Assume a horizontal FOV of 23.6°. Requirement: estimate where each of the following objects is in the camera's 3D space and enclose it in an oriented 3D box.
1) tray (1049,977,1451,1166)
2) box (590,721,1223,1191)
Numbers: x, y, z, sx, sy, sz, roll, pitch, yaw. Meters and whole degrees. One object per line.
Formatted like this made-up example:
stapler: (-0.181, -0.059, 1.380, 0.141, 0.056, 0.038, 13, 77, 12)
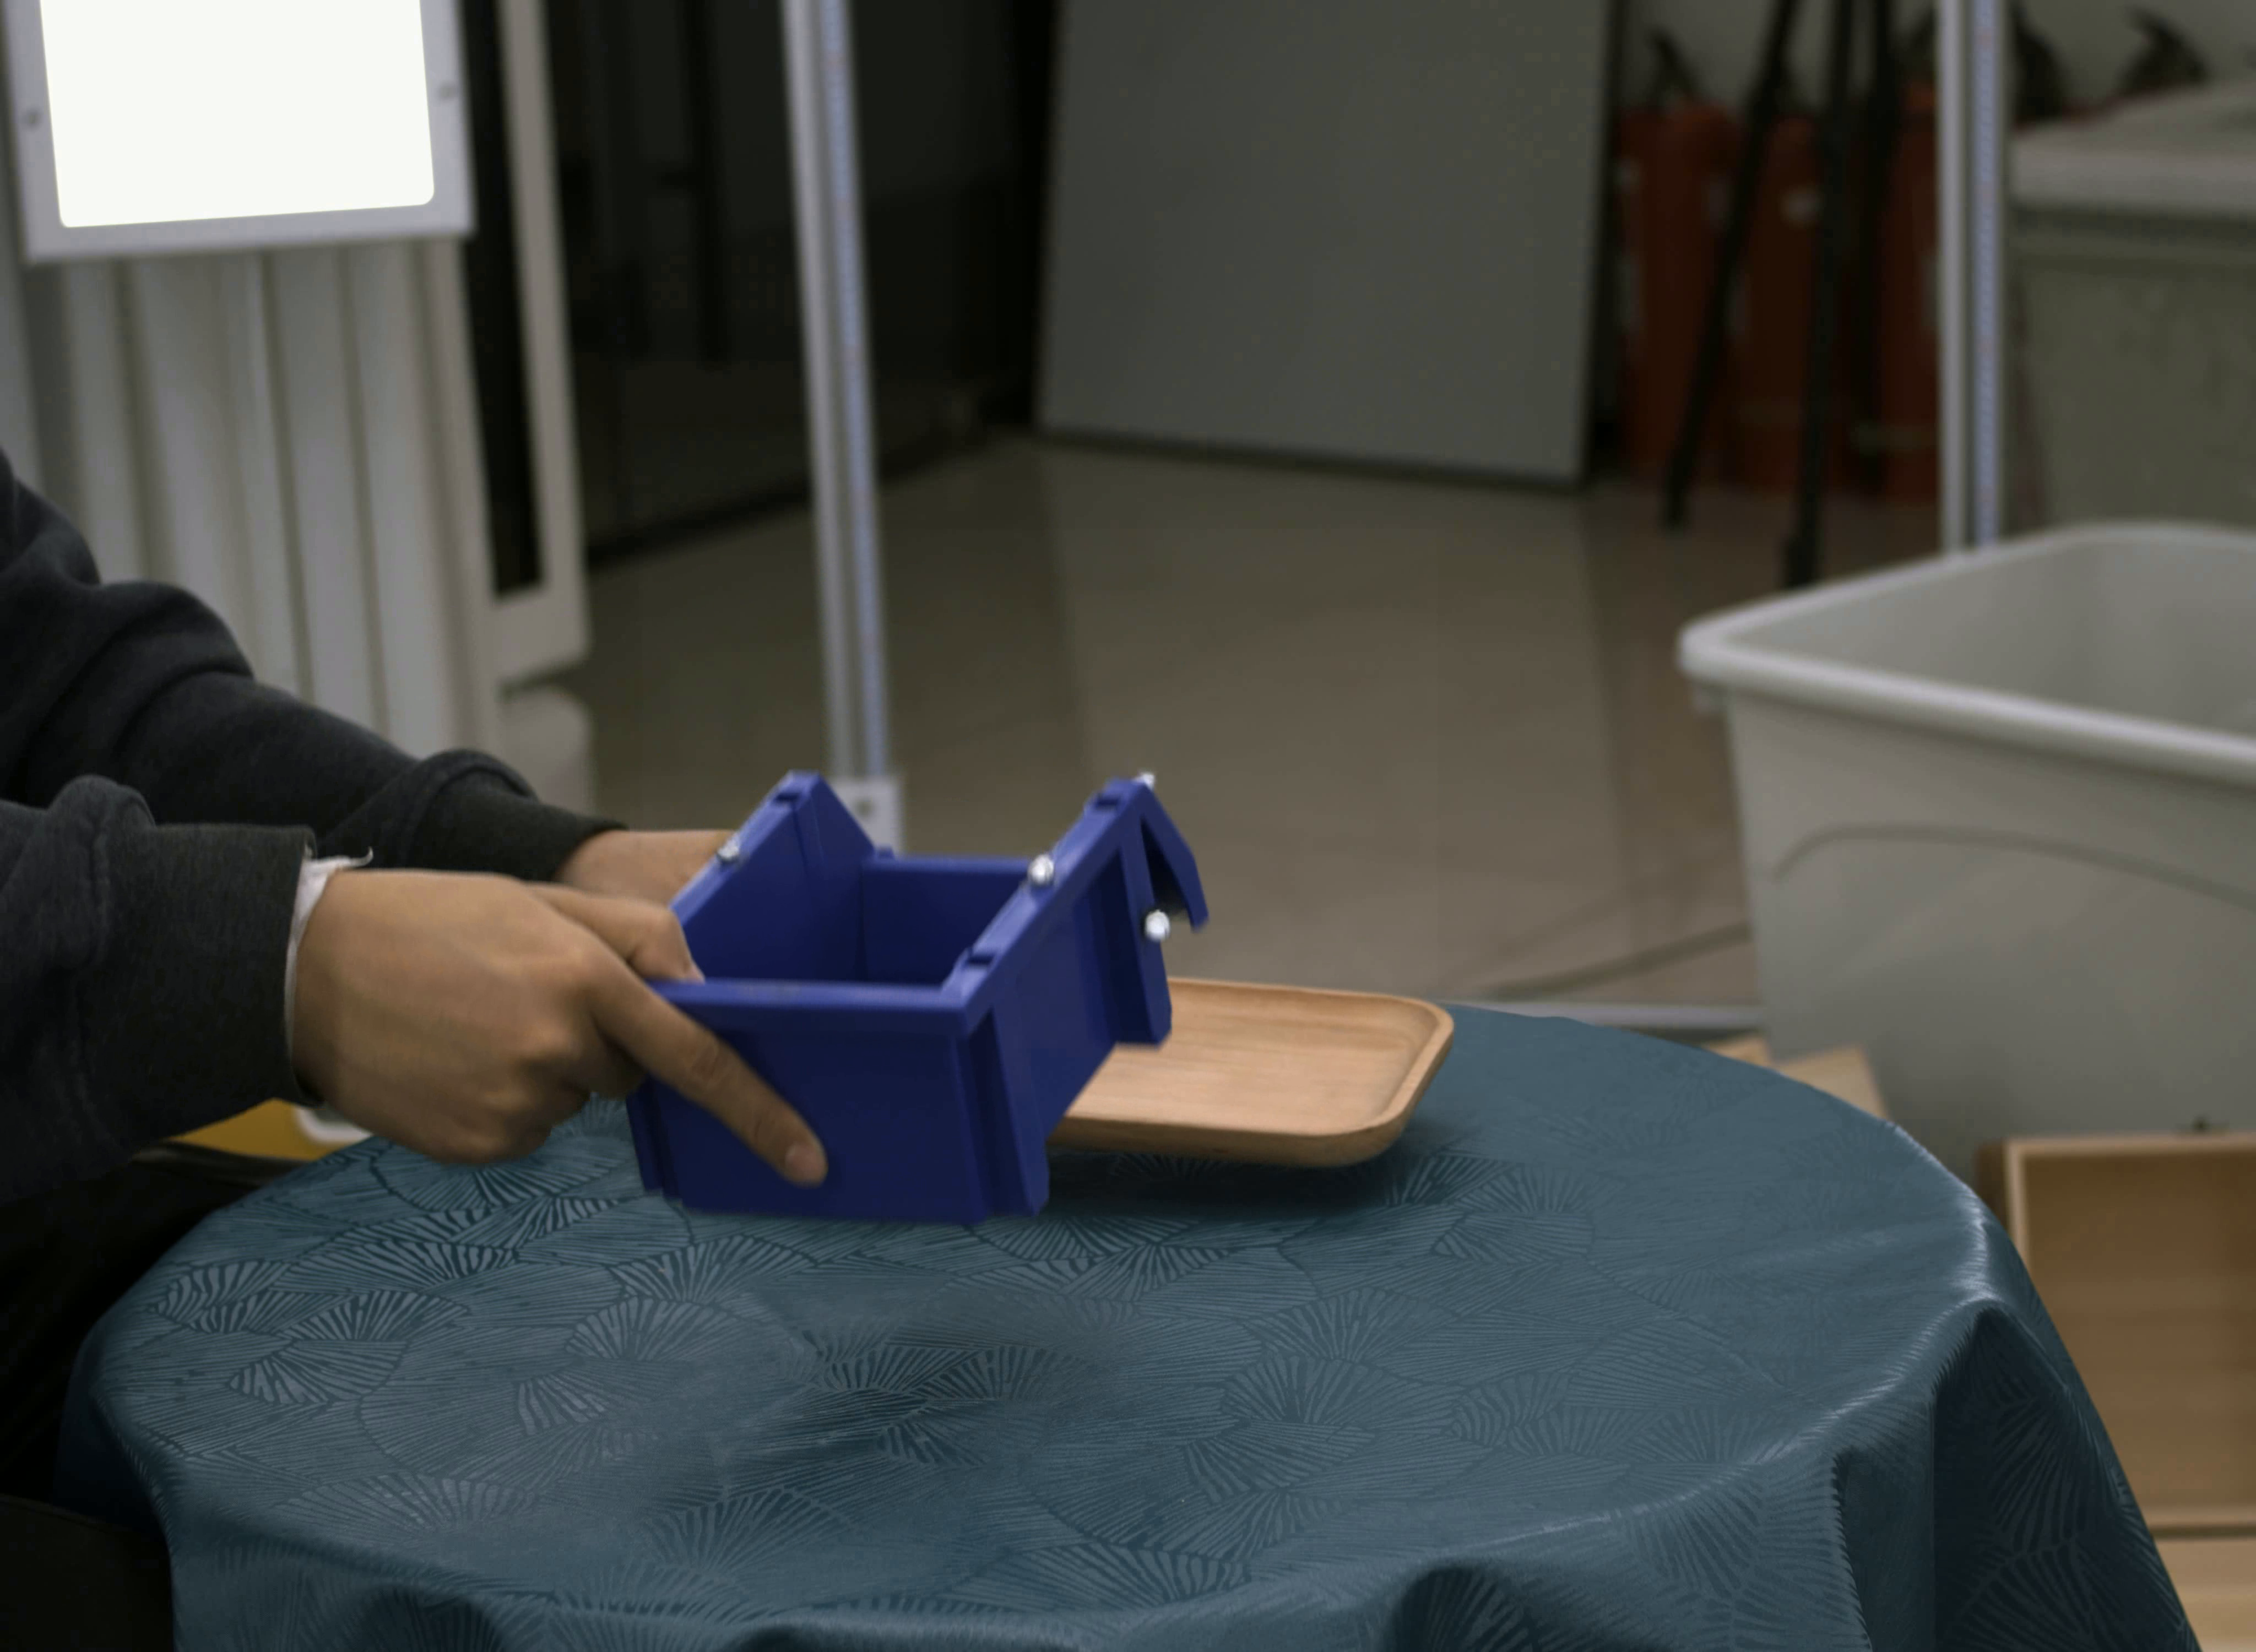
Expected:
tray: (-0.020, 0.077, 1.808, 0.250, 0.023, 0.129, 3, 17, 18)
box: (-0.062, 0.032, 1.601, 0.124, 0.082, 0.178, 1, 30, 25)
